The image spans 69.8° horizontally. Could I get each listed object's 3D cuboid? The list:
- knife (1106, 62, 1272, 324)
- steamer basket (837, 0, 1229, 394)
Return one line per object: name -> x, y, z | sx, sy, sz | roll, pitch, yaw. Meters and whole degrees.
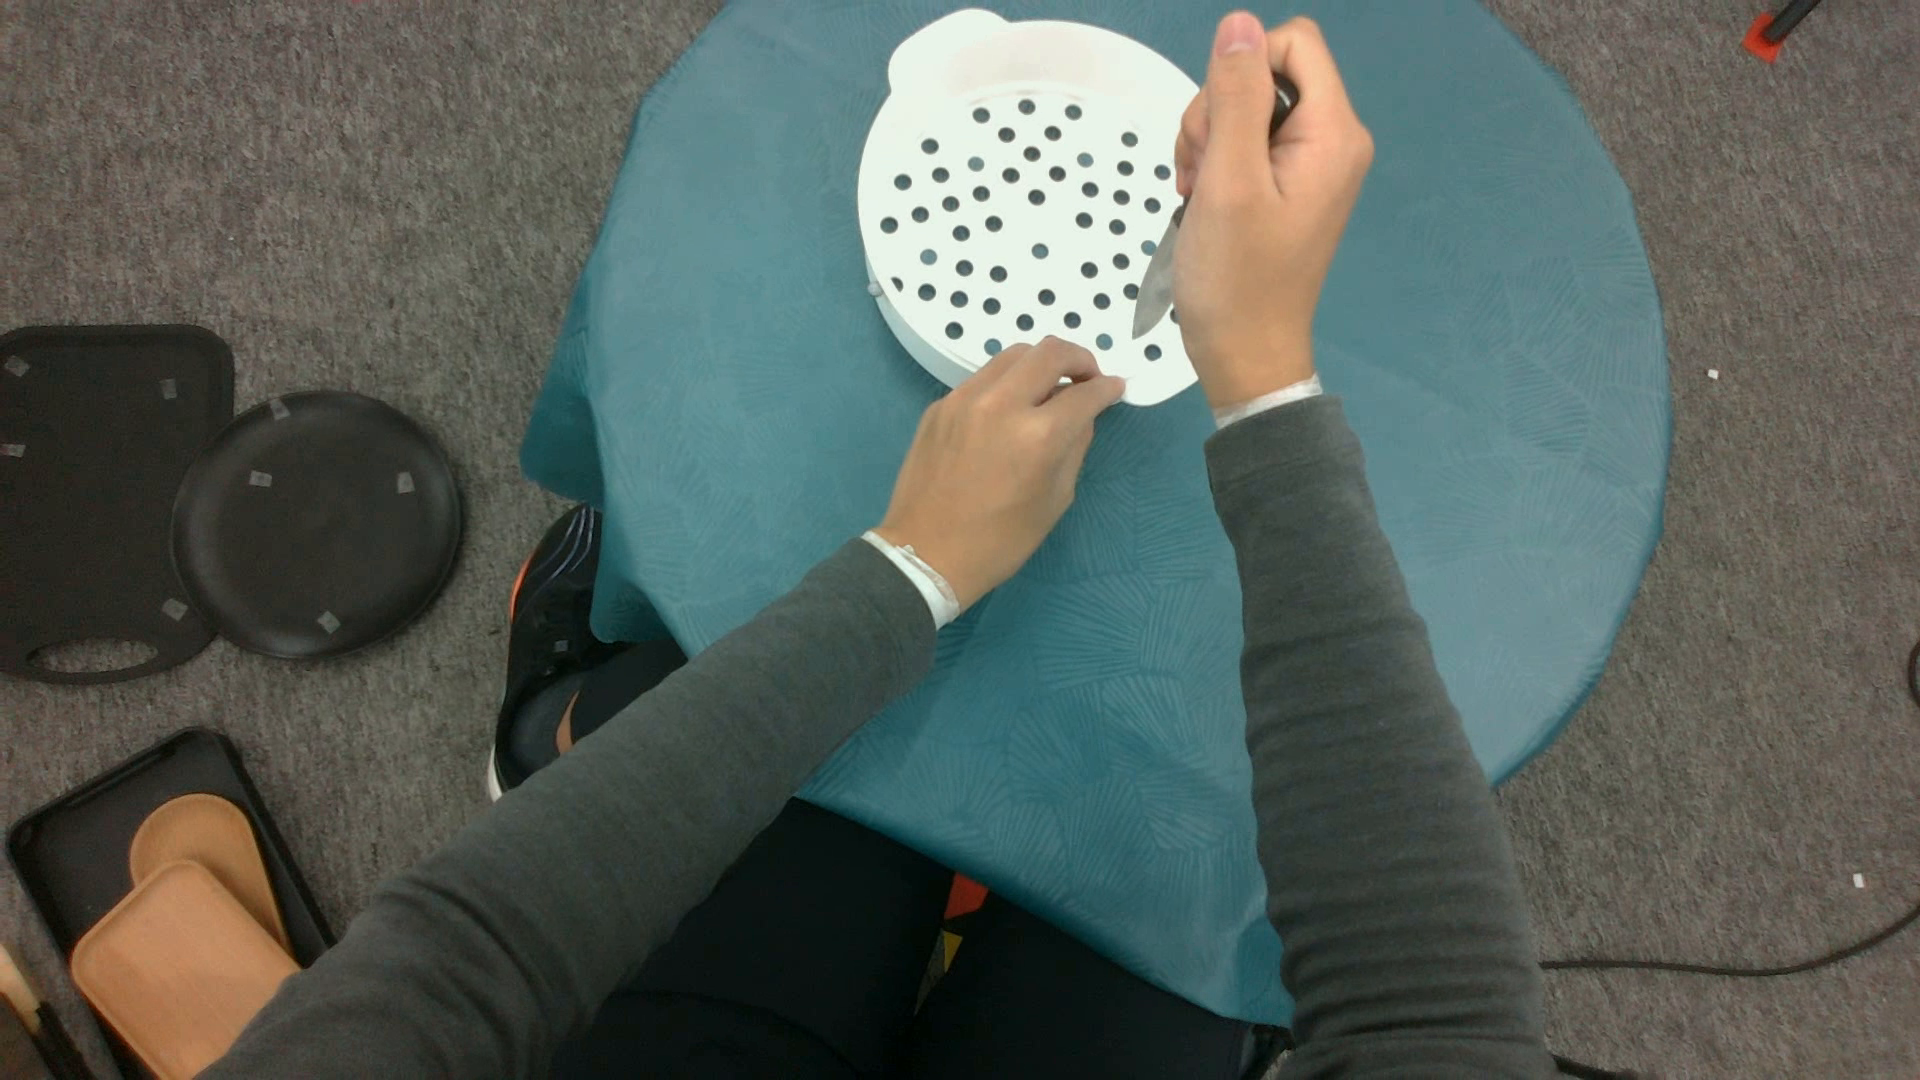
knife -> 0.090, -0.134, 0.594 | 0.016, 0.237, 0.024 | -23, 82, -11
steamer basket -> 0.036, -0.176, 0.726 | 0.202, 0.069, 0.230 | -33, 84, -11
